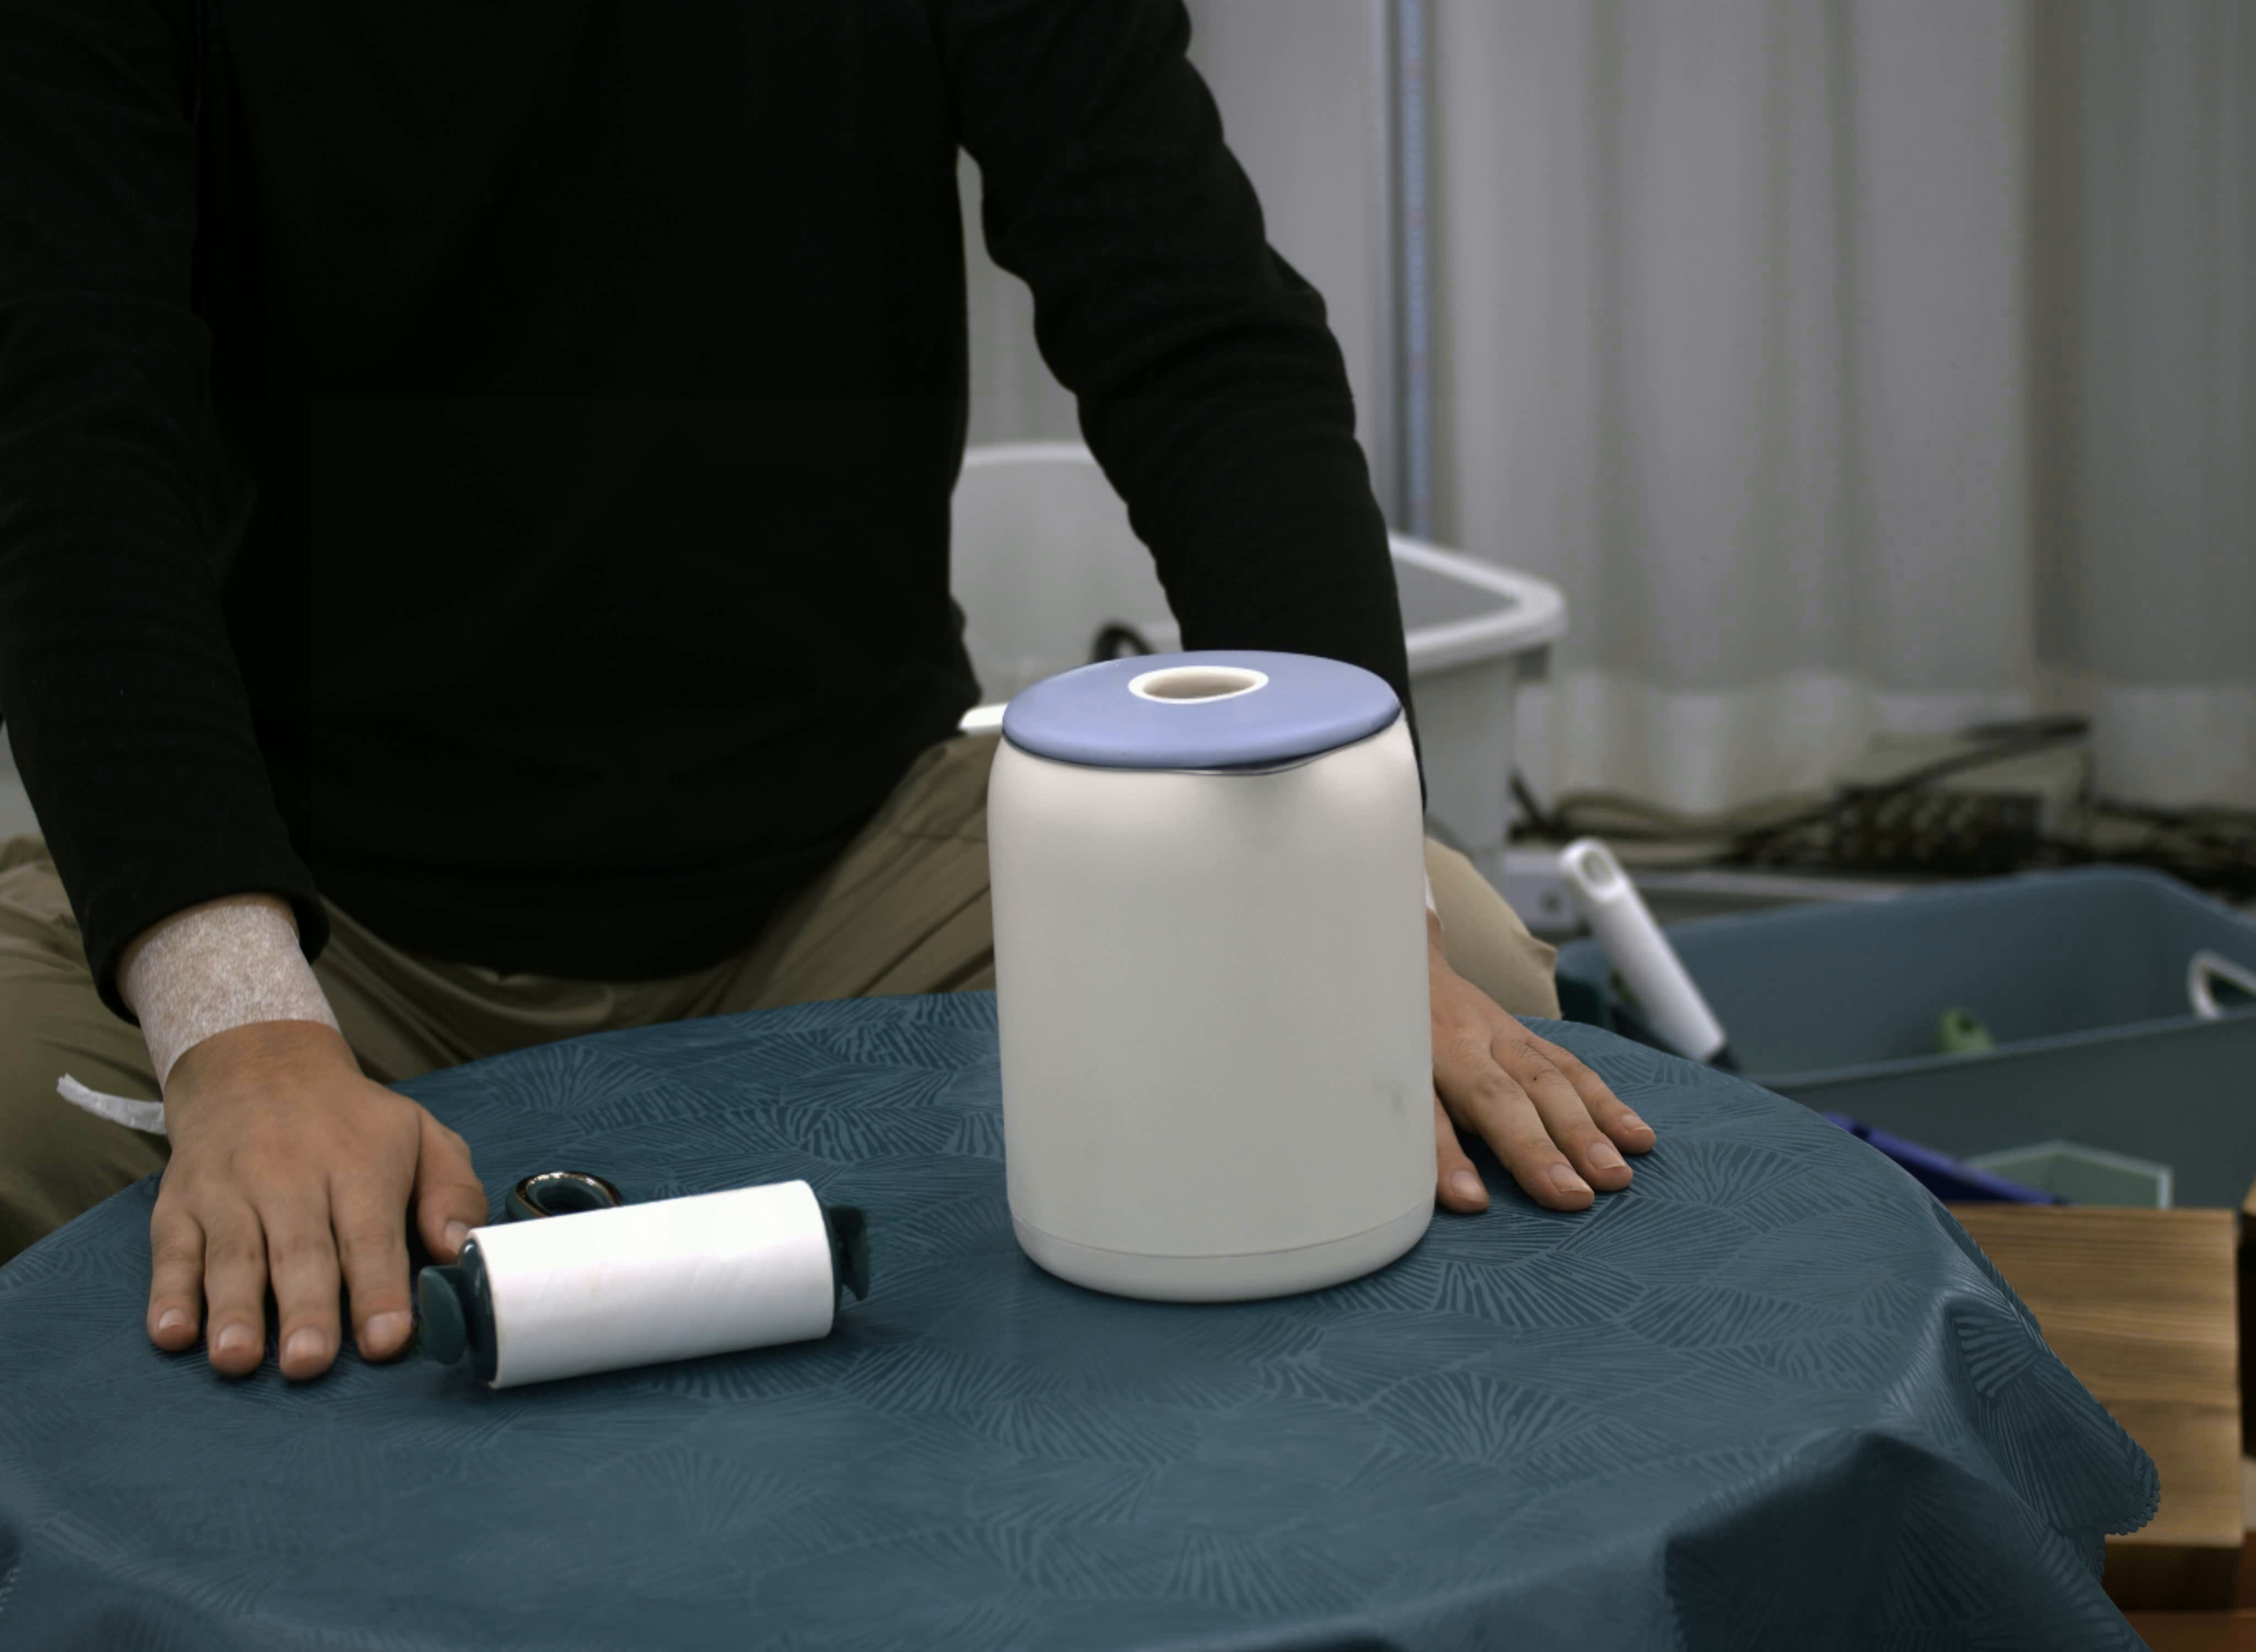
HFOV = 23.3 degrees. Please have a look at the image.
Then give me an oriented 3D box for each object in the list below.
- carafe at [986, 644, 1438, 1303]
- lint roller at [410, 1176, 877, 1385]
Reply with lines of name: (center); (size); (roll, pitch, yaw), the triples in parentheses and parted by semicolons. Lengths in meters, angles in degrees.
carafe: (0.018, 0.038, 1.668); (0.131, 0.182, 0.192); (-6, 12, -16)
lint roller: (-0.160, 0.120, 1.646); (0.134, 0.048, 0.181); (-8, 12, -16)
